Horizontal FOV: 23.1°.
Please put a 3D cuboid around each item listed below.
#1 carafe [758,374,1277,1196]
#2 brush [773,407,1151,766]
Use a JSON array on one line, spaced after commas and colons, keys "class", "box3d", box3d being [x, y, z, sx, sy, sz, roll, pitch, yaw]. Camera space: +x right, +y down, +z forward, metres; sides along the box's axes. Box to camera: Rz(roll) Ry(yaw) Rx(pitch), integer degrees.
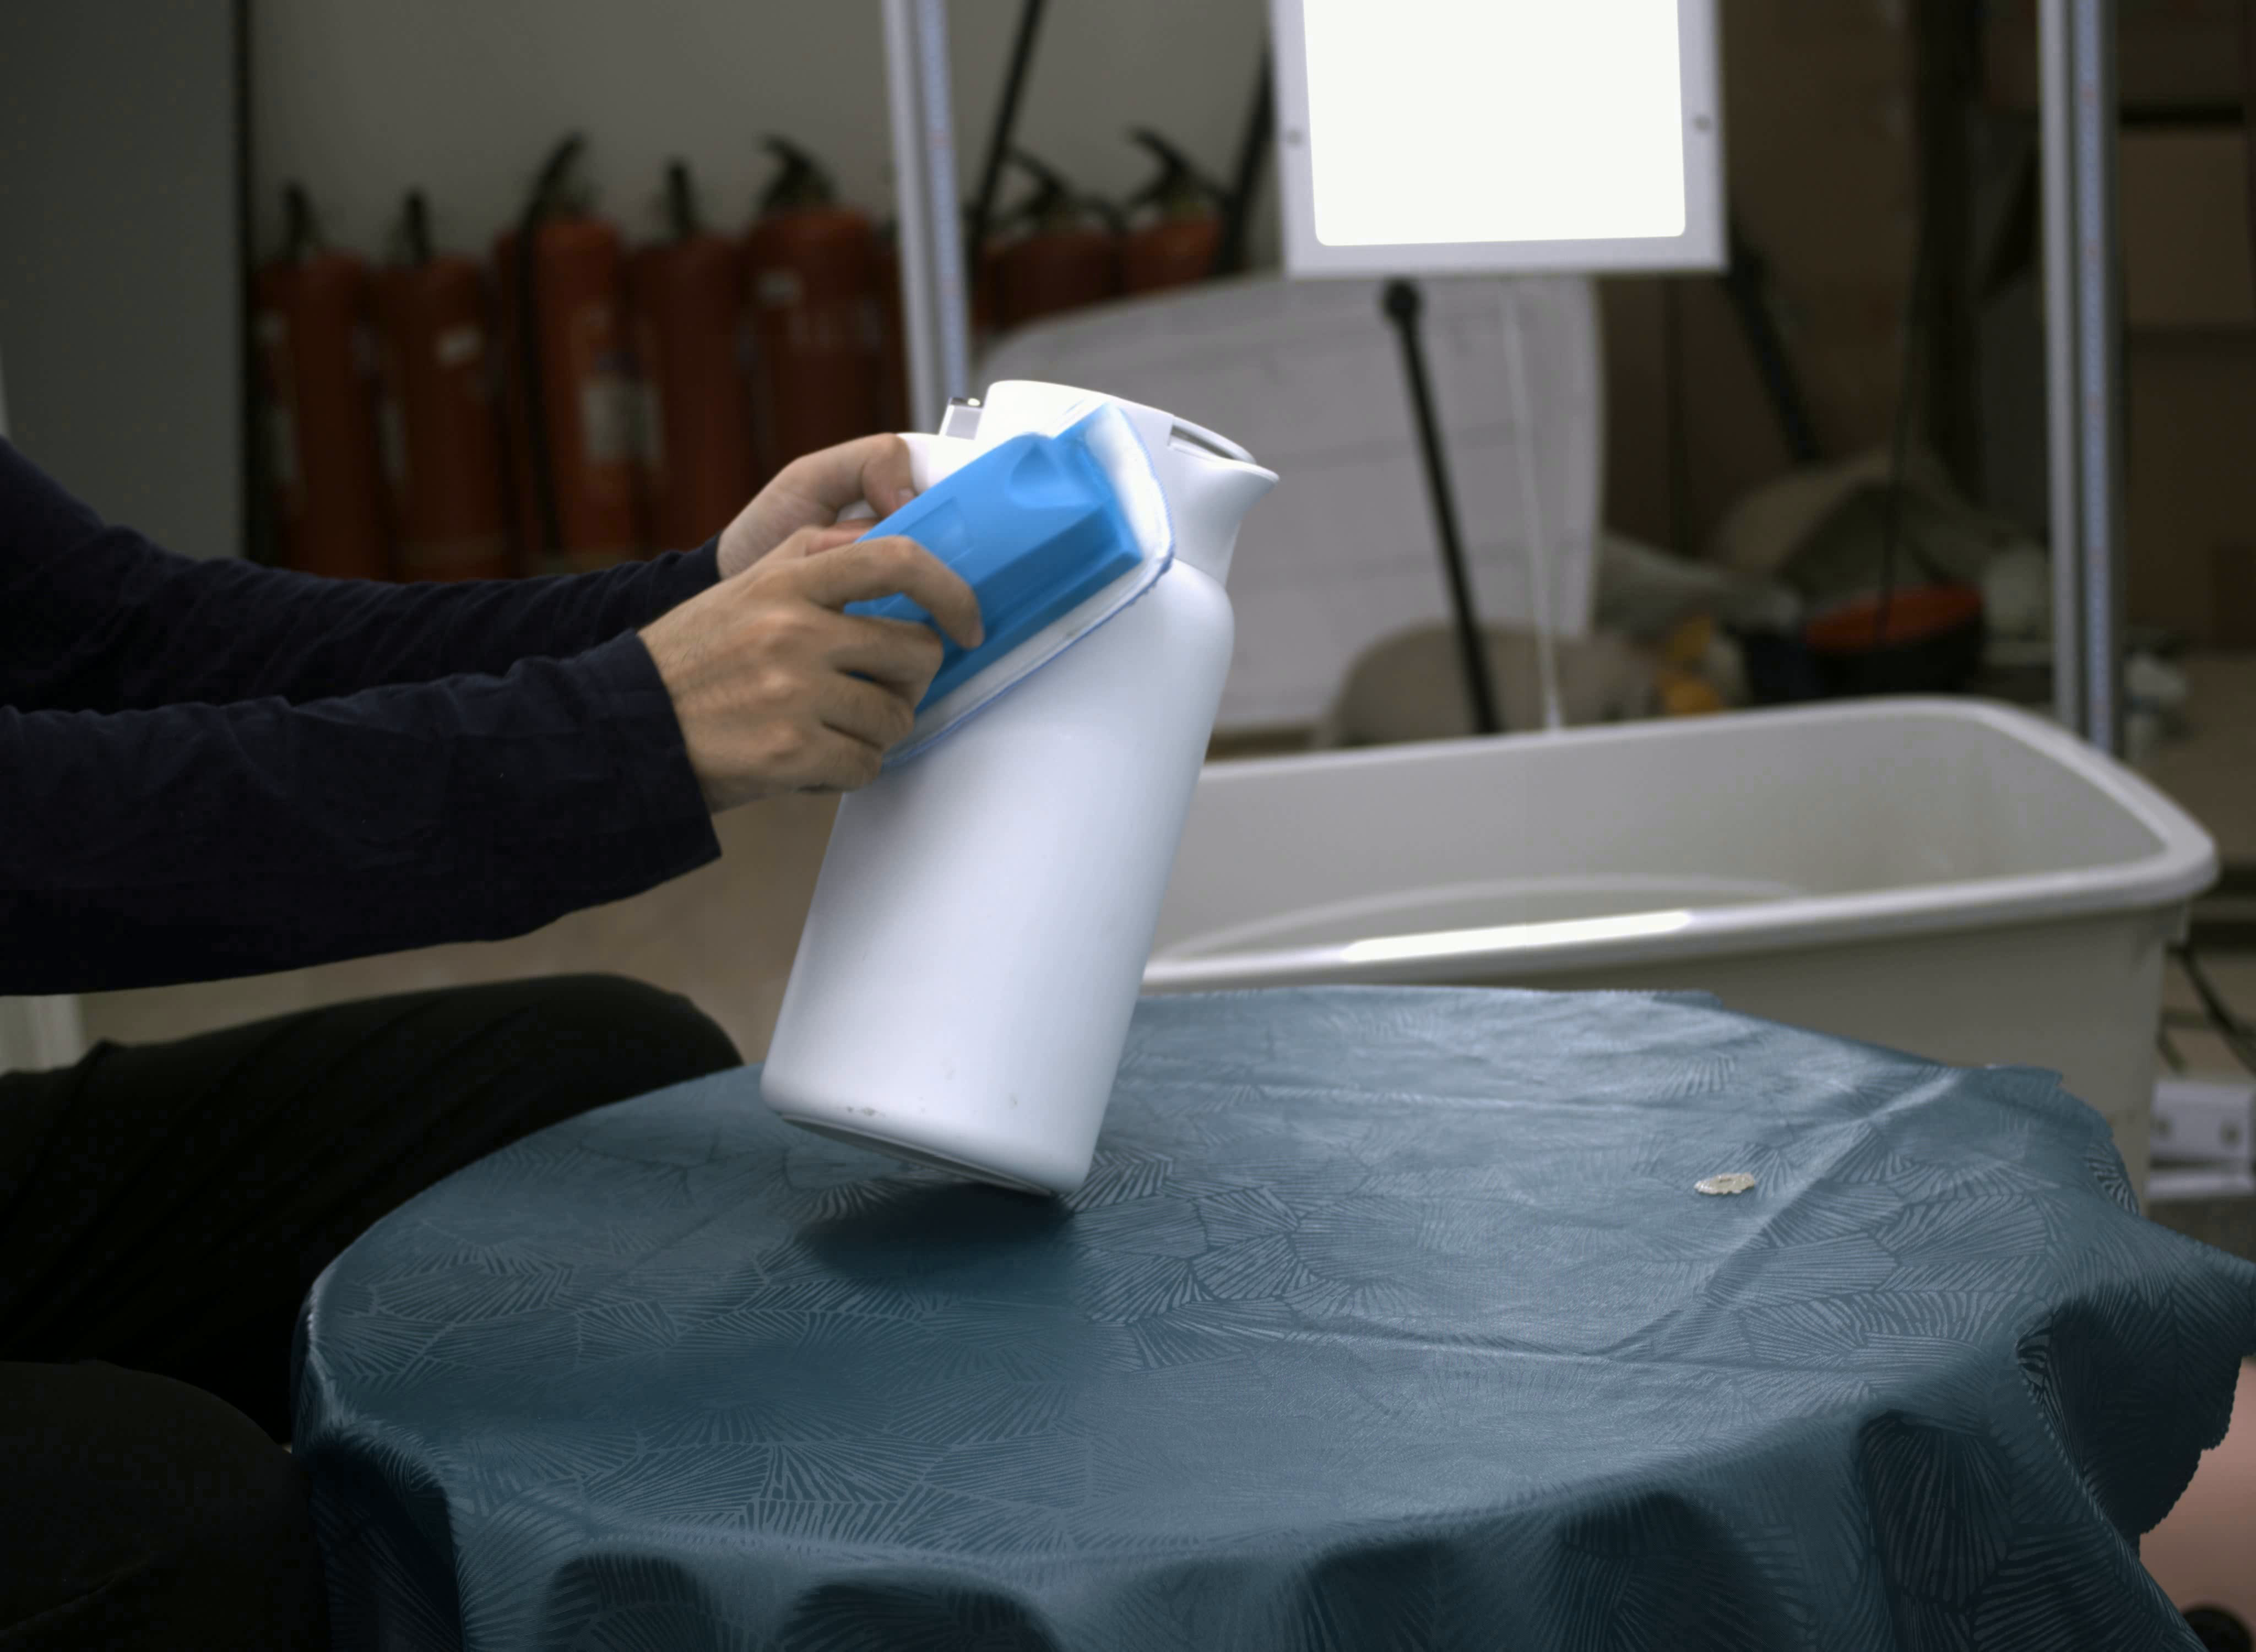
[{"class": "carafe", "box3d": [-0.052, -0.017, 1.904, 0.176, 0.269, 0.121, 10, -6, 36]}, {"class": "brush", "box3d": [-0.063, -0.086, 1.829, 0.146, 0.084, 0.055, -30, -34, 21]}]
